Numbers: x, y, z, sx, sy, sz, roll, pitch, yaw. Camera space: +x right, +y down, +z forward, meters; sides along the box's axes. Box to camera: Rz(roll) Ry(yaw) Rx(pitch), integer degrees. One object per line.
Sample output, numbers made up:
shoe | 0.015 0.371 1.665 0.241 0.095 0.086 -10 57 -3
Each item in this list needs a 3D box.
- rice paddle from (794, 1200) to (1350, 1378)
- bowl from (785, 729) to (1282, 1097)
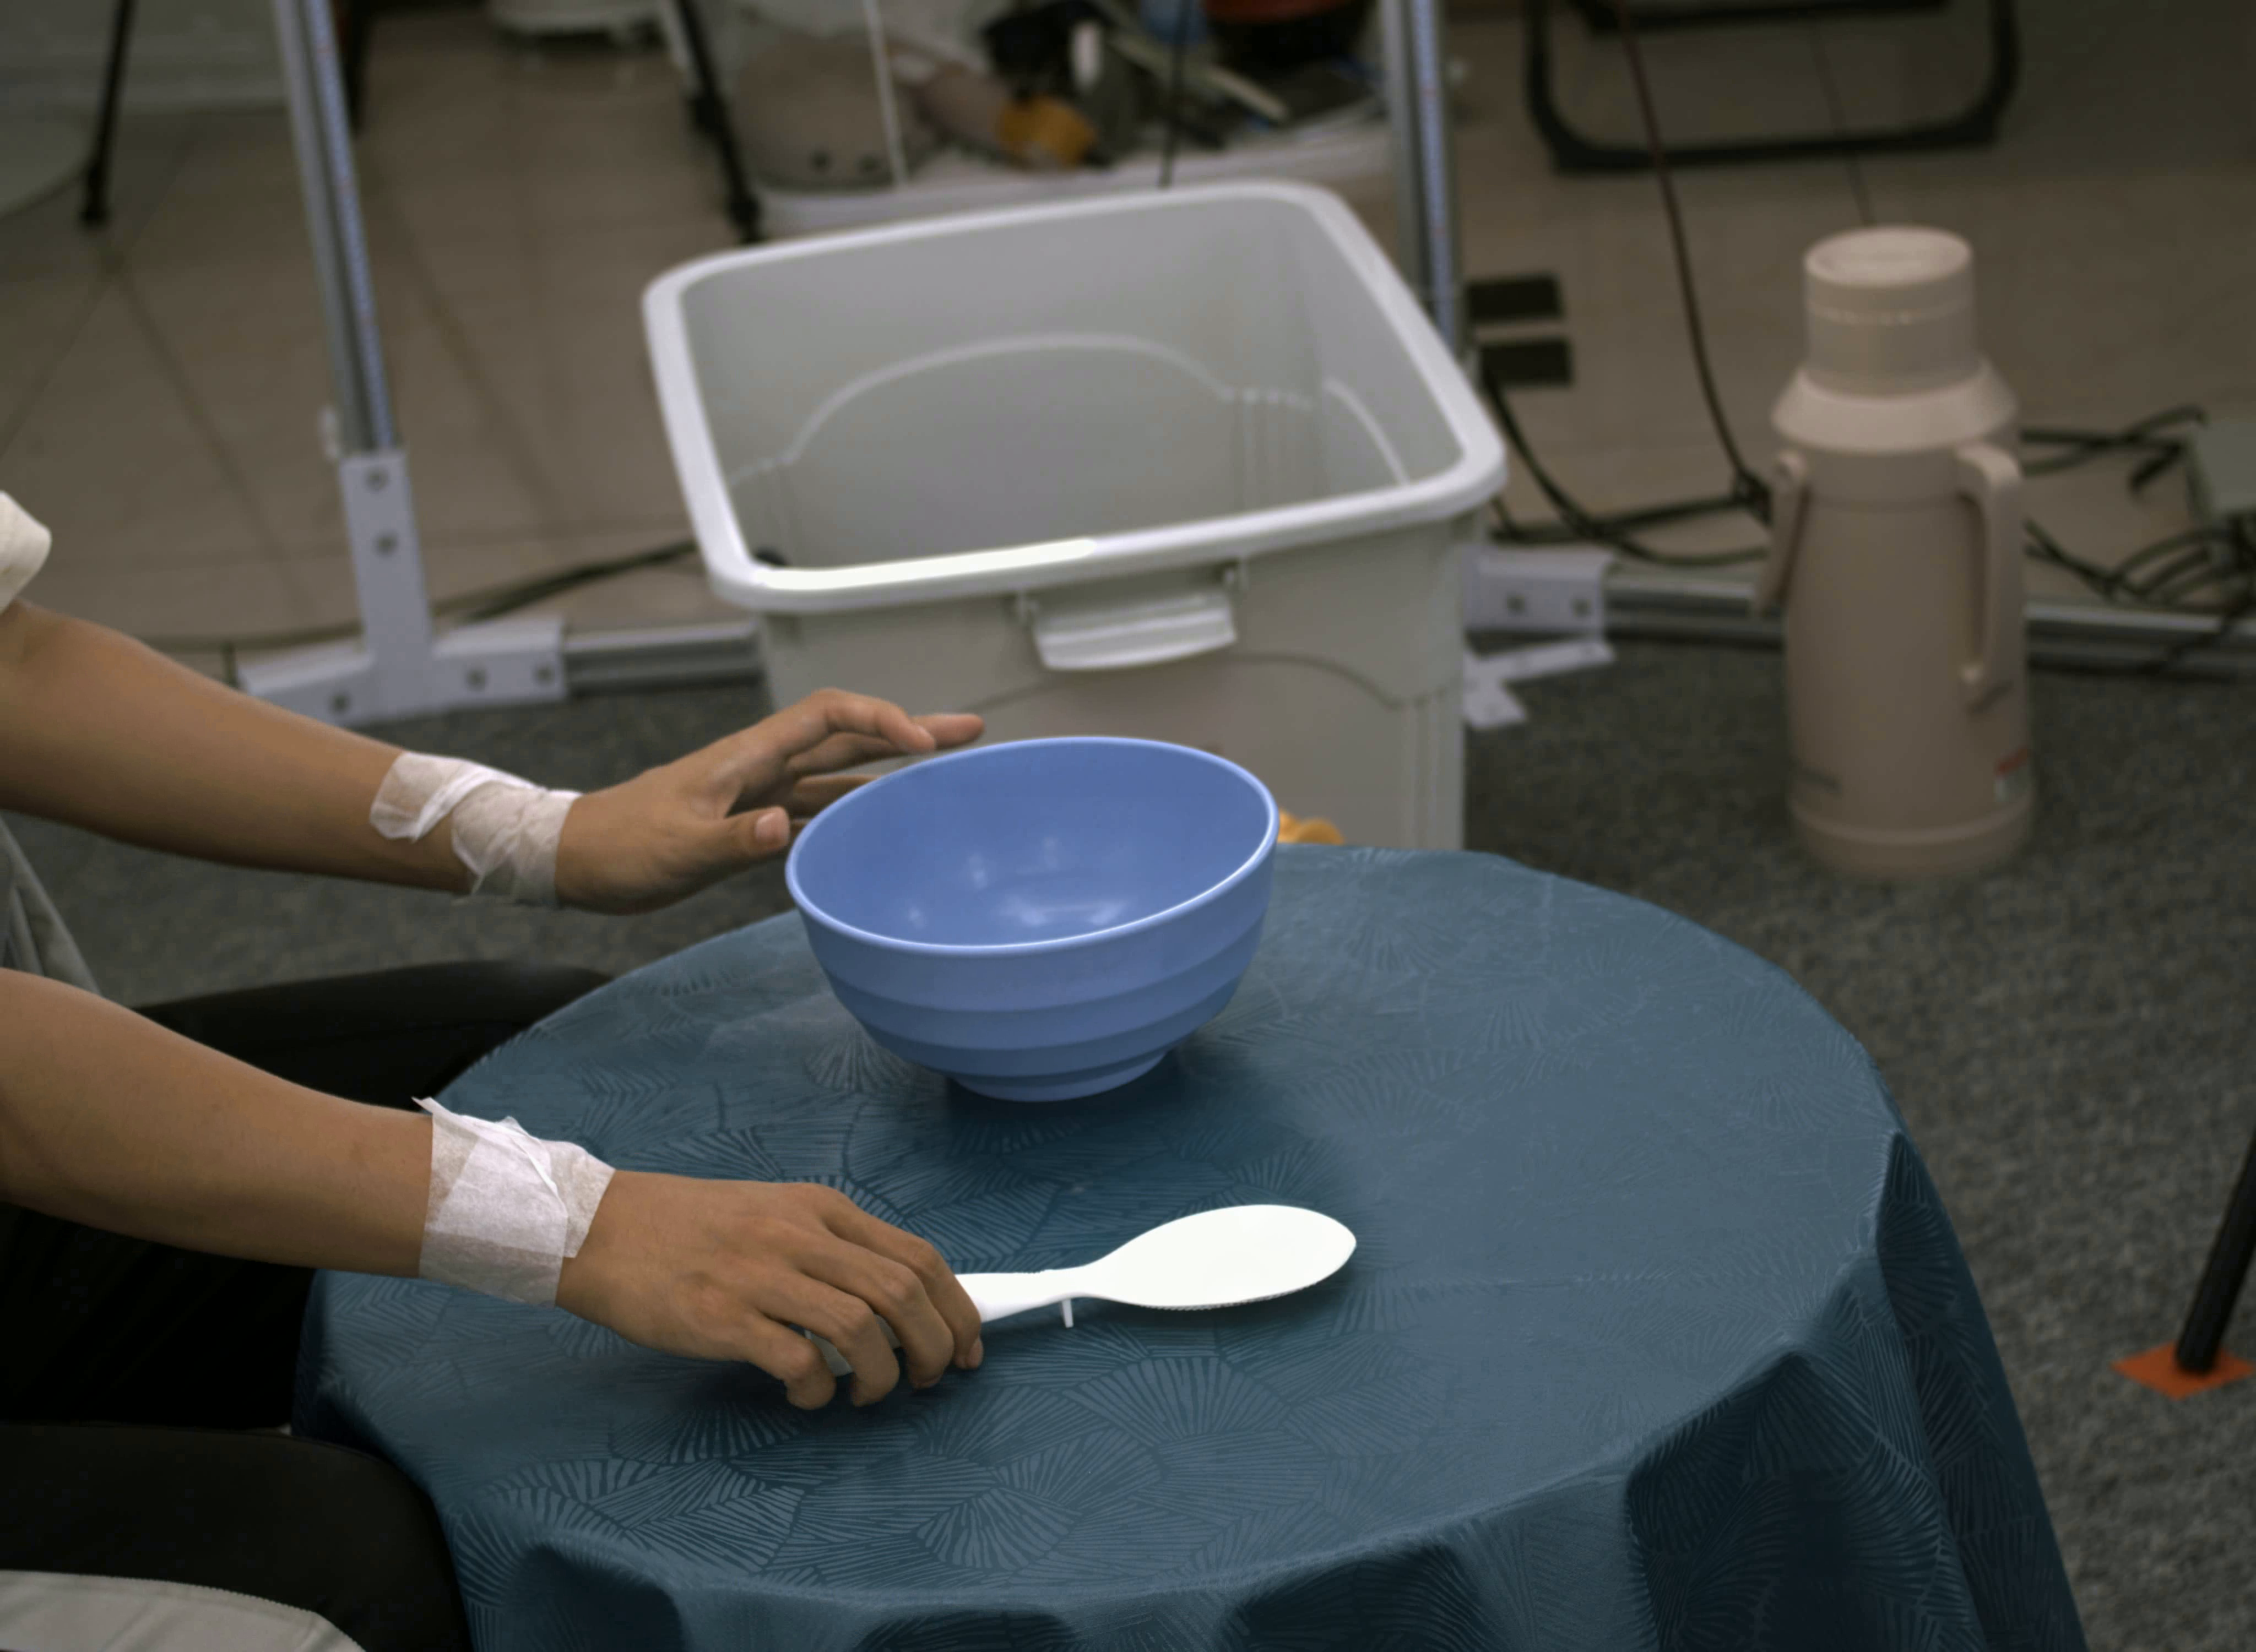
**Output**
rice paddle | -0.019 0.165 2.063 0.205 0.030 0.068 -11 27 -8
bowl | -0.034 0.045 2.244 0.196 0.097 0.193 -4 26 2
